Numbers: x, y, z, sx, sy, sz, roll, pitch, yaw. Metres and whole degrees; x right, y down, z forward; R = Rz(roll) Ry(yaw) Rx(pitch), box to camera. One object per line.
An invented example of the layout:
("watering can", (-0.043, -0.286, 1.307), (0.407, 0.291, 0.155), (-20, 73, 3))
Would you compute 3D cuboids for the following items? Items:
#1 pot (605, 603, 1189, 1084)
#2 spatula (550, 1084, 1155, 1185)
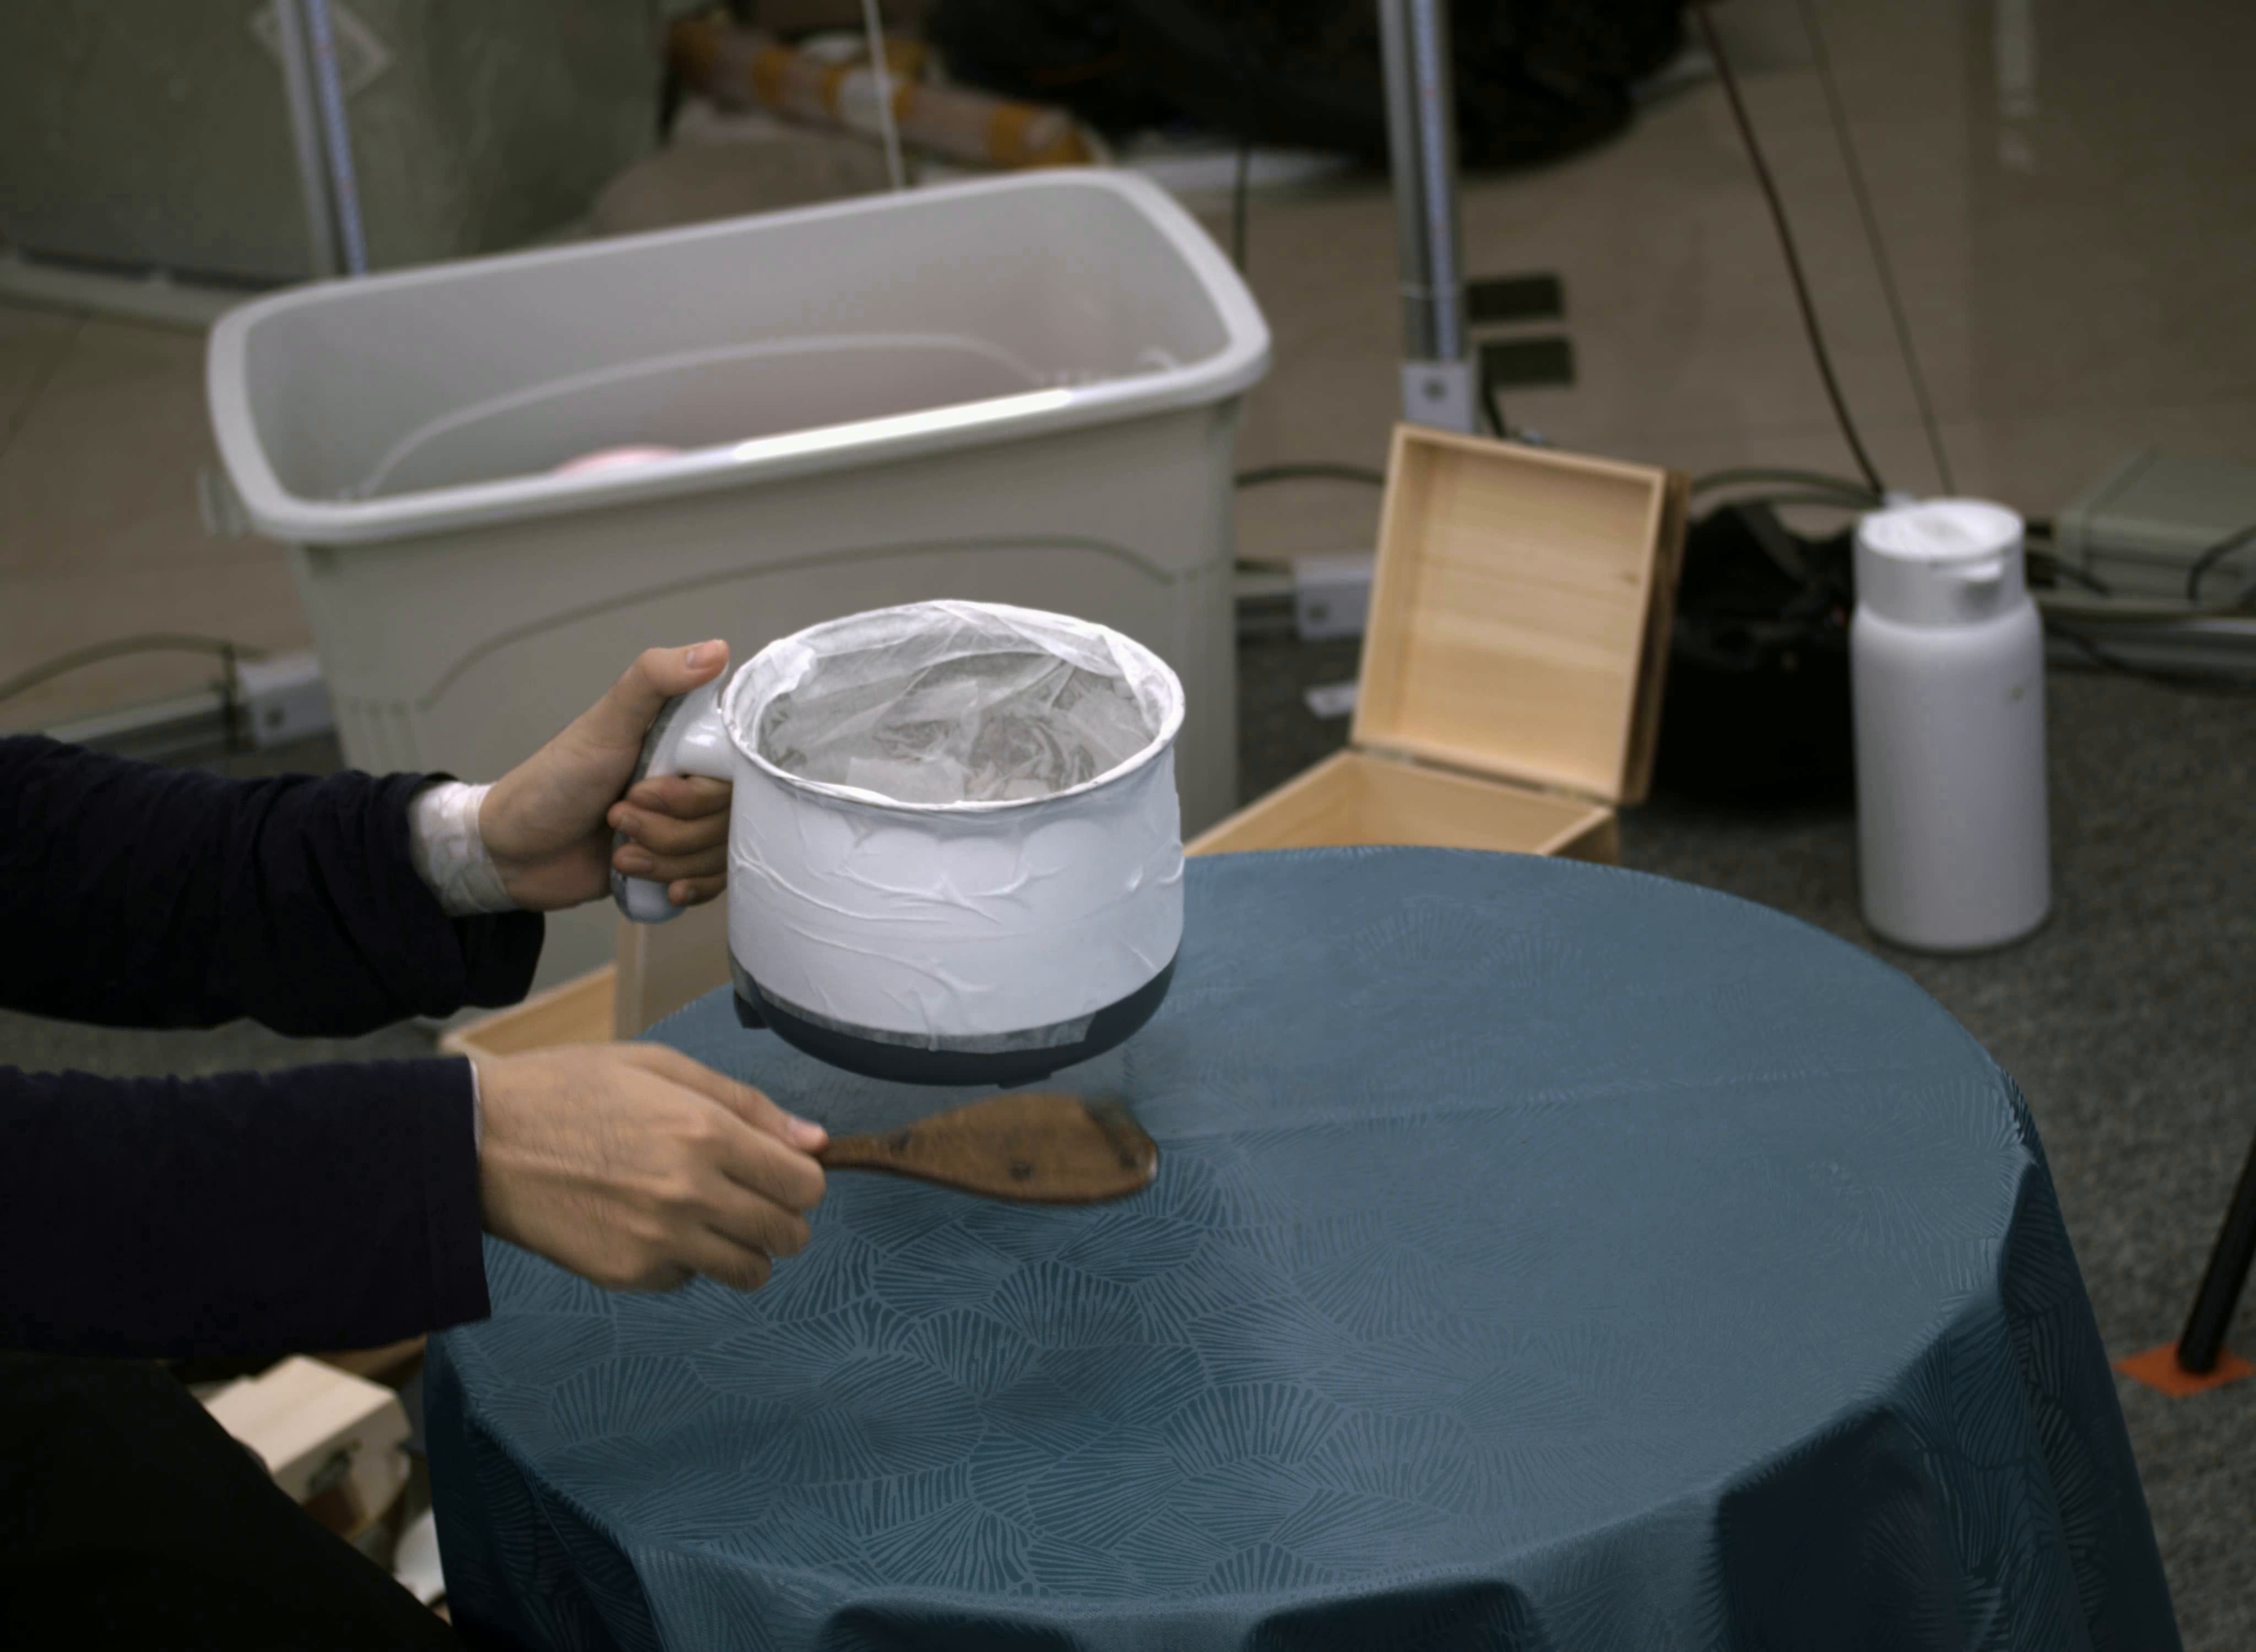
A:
("pot", (-0.093, 0.003, 2.190), (0.233, 0.139, 0.176), (10, 27, 16))
("spatula", (-0.098, 0.114, 2.018), (0.215, 0.009, 0.071), (-2, 27, -1))
